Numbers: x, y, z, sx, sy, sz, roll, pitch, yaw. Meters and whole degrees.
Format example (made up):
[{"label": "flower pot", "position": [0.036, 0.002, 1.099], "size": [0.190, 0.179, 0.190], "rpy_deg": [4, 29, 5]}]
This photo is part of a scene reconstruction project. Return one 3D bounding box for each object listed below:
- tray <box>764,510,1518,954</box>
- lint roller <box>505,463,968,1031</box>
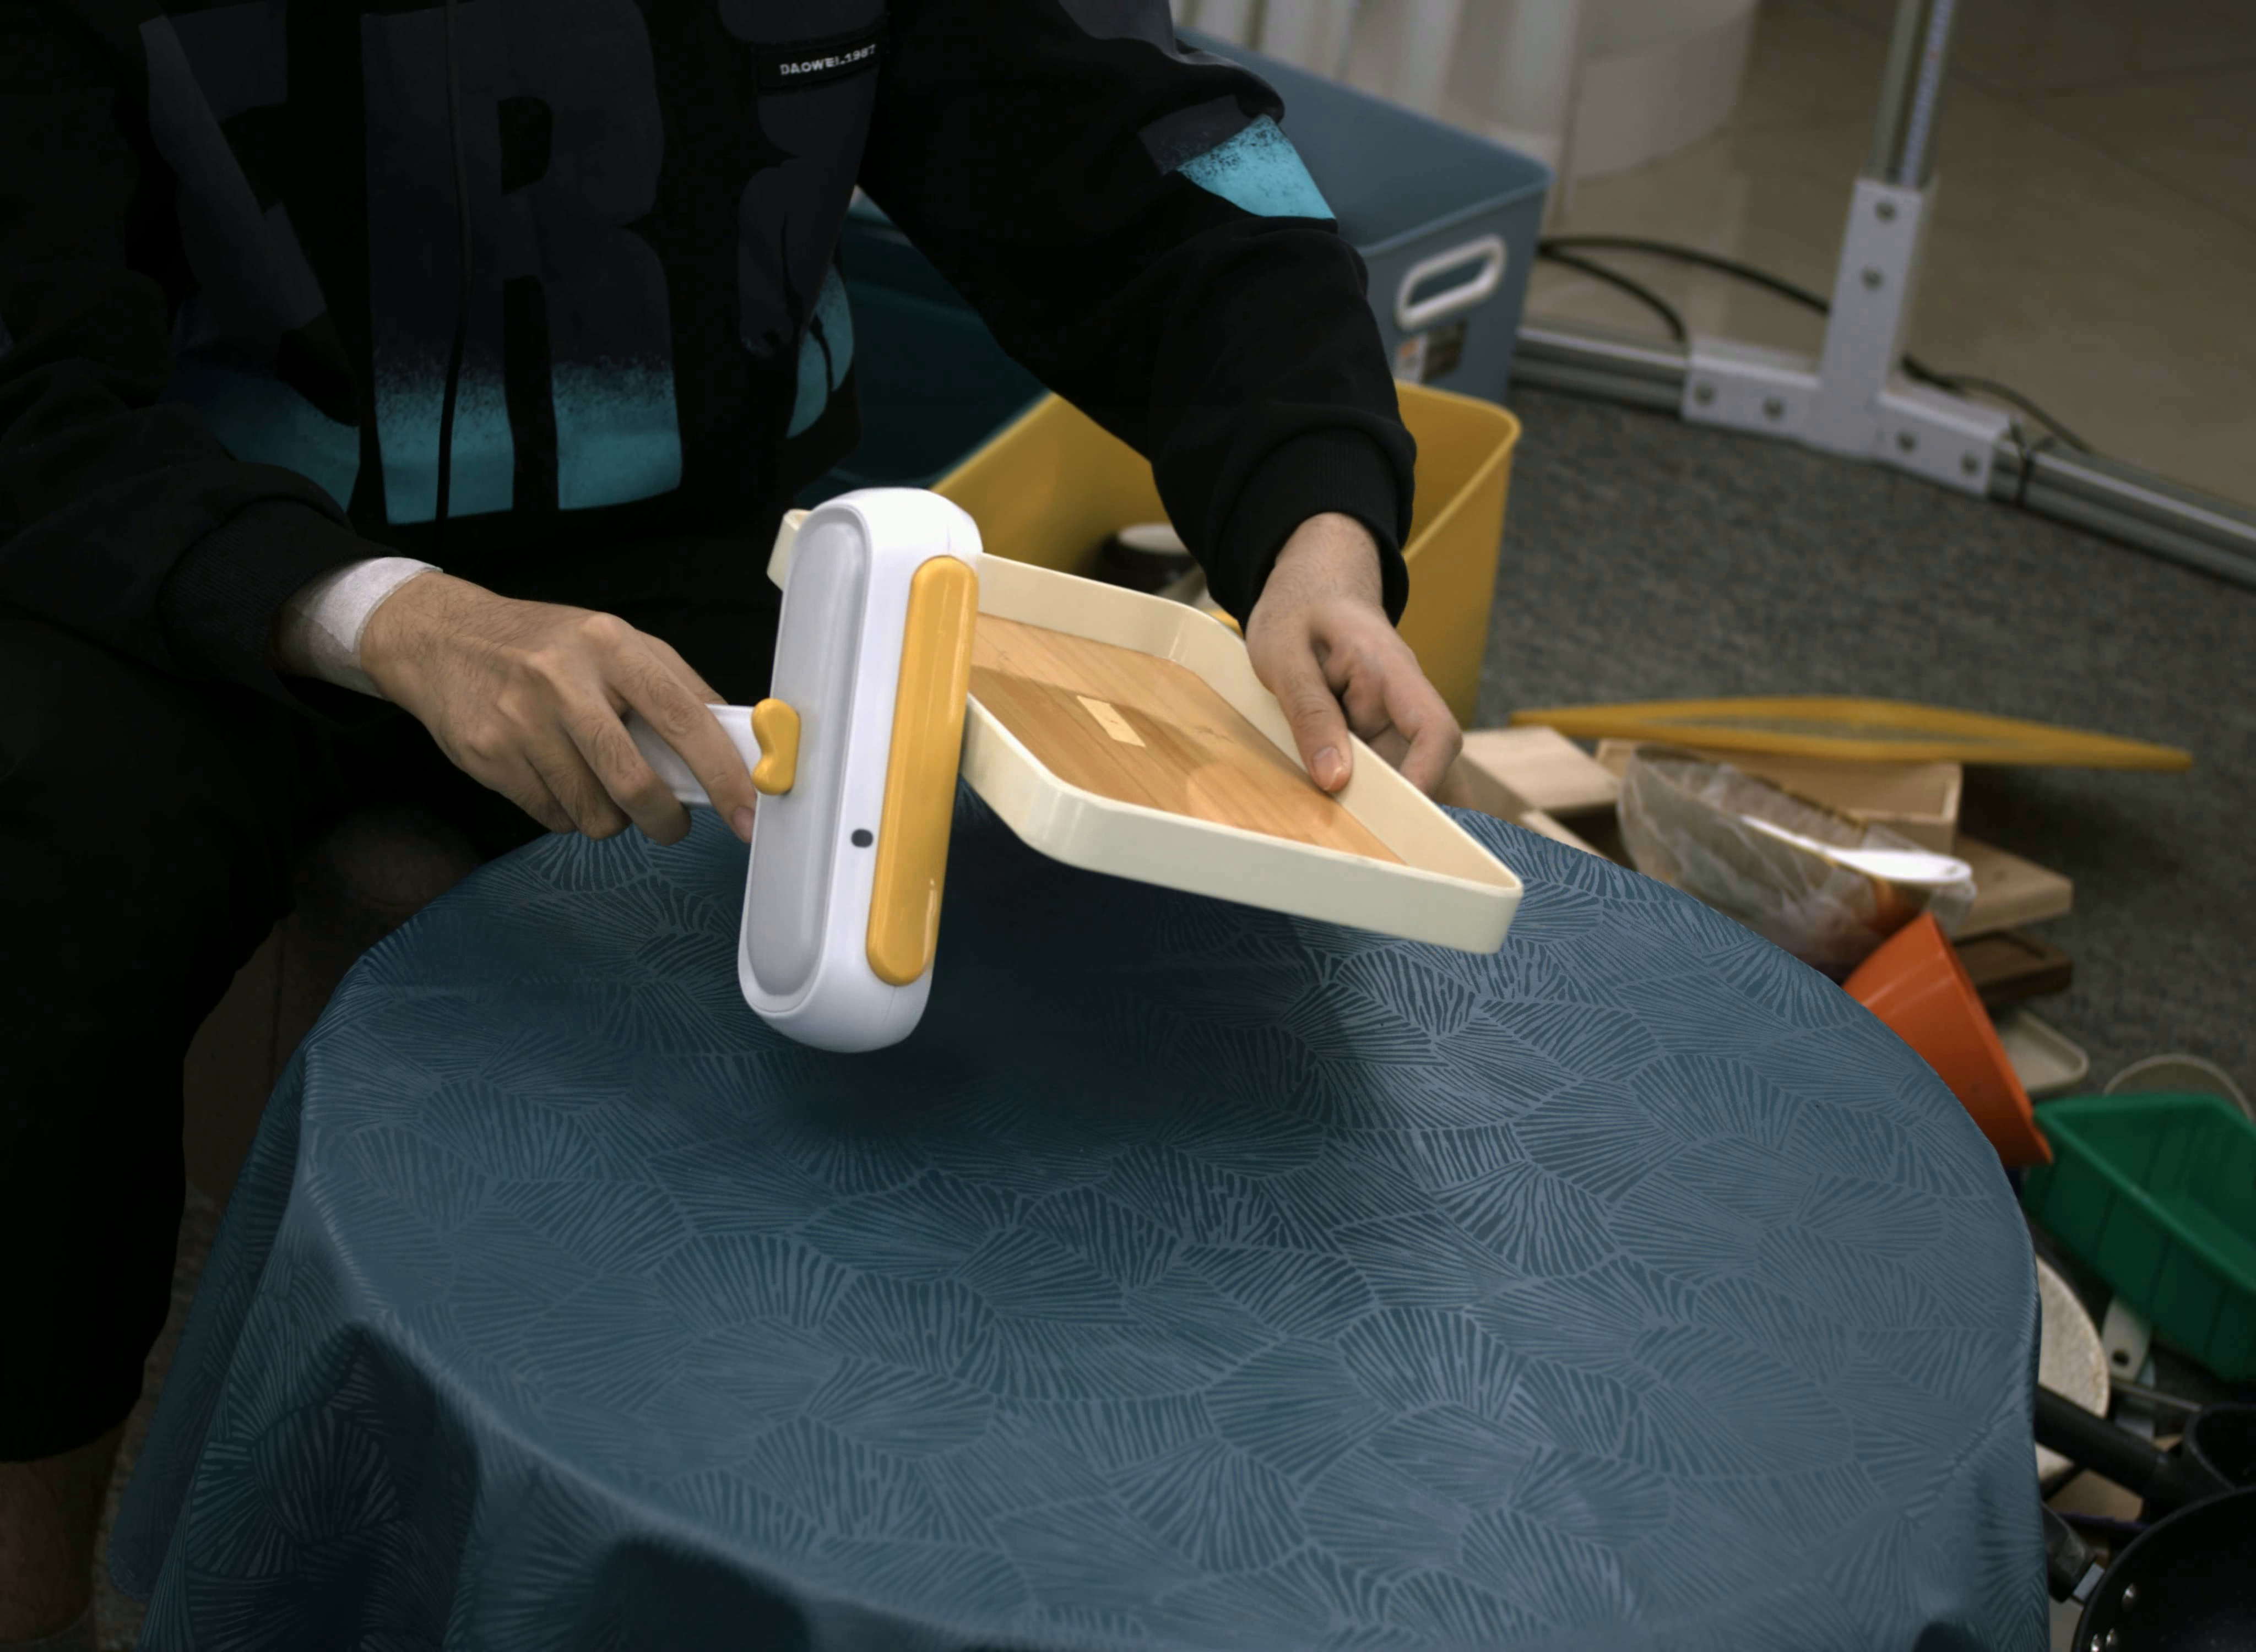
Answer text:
[{"label": "tray", "position": [-0.002, -0.036, 1.900], "size": [0.190, 0.027, 0.303], "rpy_deg": [13, 16, -27]}, {"label": "lint roller", "position": [-0.136, -0.025, 1.840], "size": [0.073, 0.193, 0.193], "rpy_deg": [6, -7, -44]}]
